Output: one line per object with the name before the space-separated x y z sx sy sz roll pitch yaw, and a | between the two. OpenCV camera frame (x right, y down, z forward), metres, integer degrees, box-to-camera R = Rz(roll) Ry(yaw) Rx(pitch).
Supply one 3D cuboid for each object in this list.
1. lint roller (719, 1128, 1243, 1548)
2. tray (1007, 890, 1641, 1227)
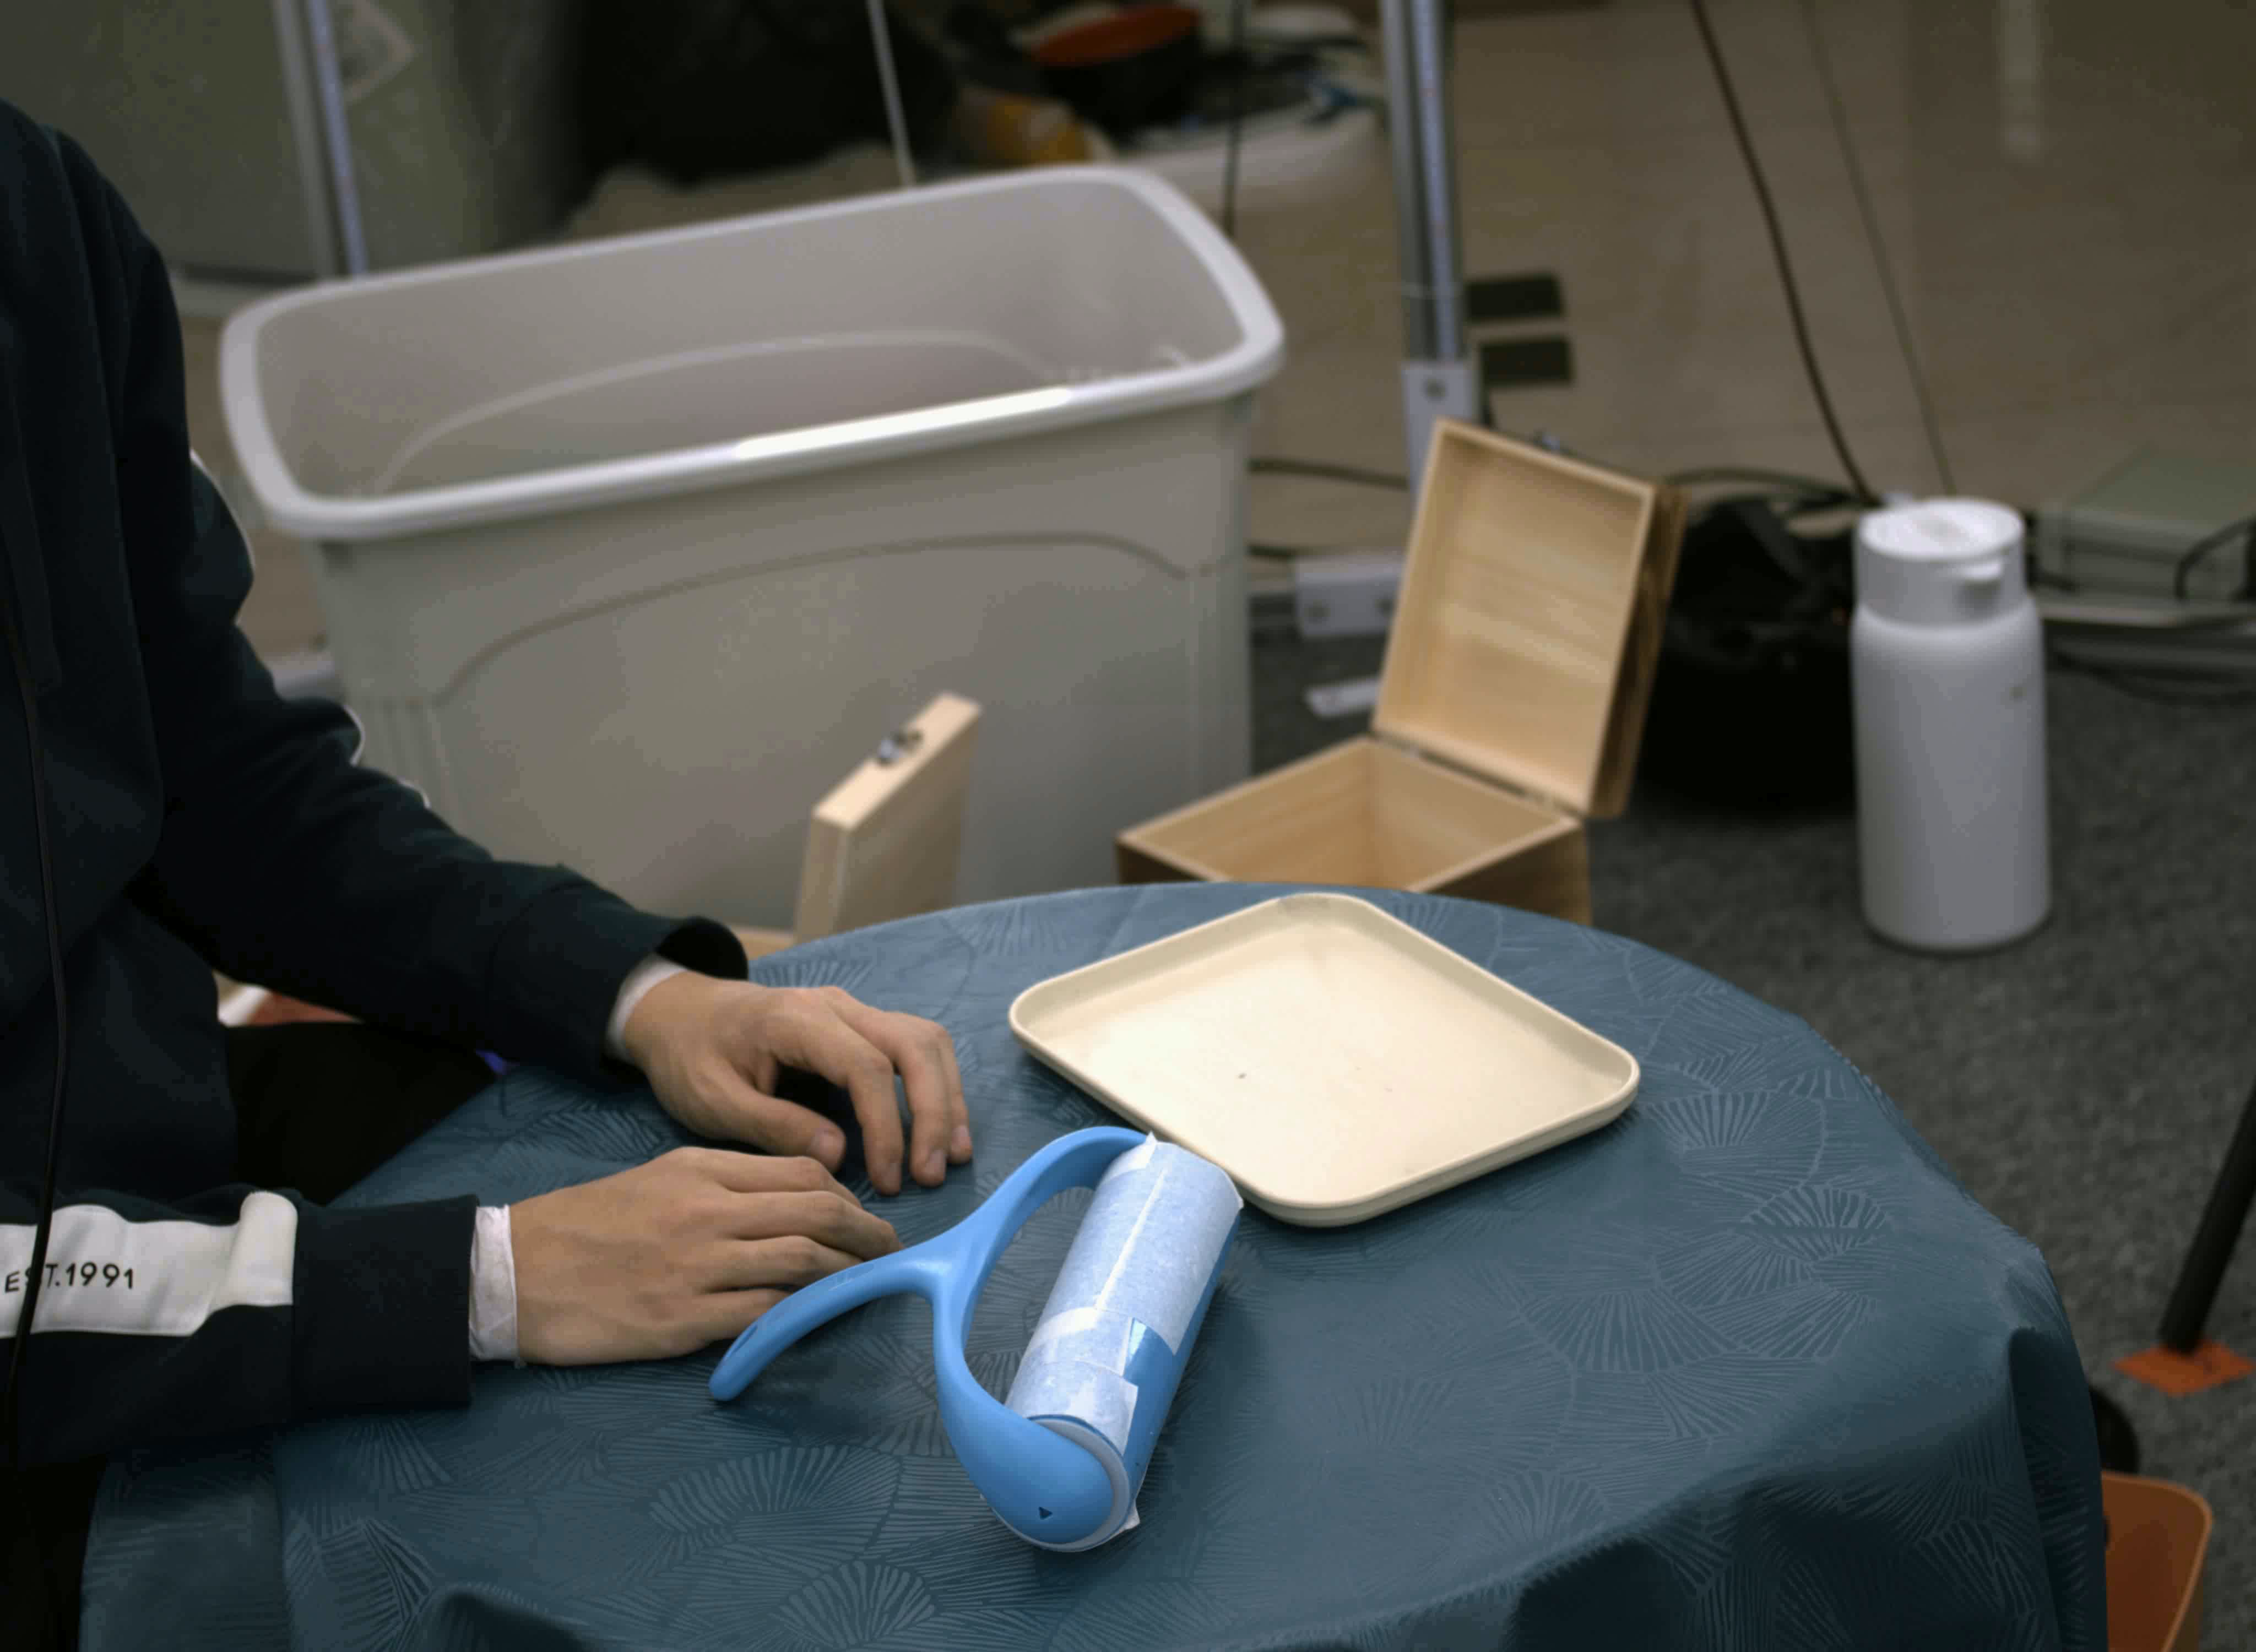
lint roller | -0.061 0.180 2.004 0.180 0.069 0.225 -1 27 10
tray | 0.074 0.089 2.210 0.170 0.018 0.237 -20 28 -26
